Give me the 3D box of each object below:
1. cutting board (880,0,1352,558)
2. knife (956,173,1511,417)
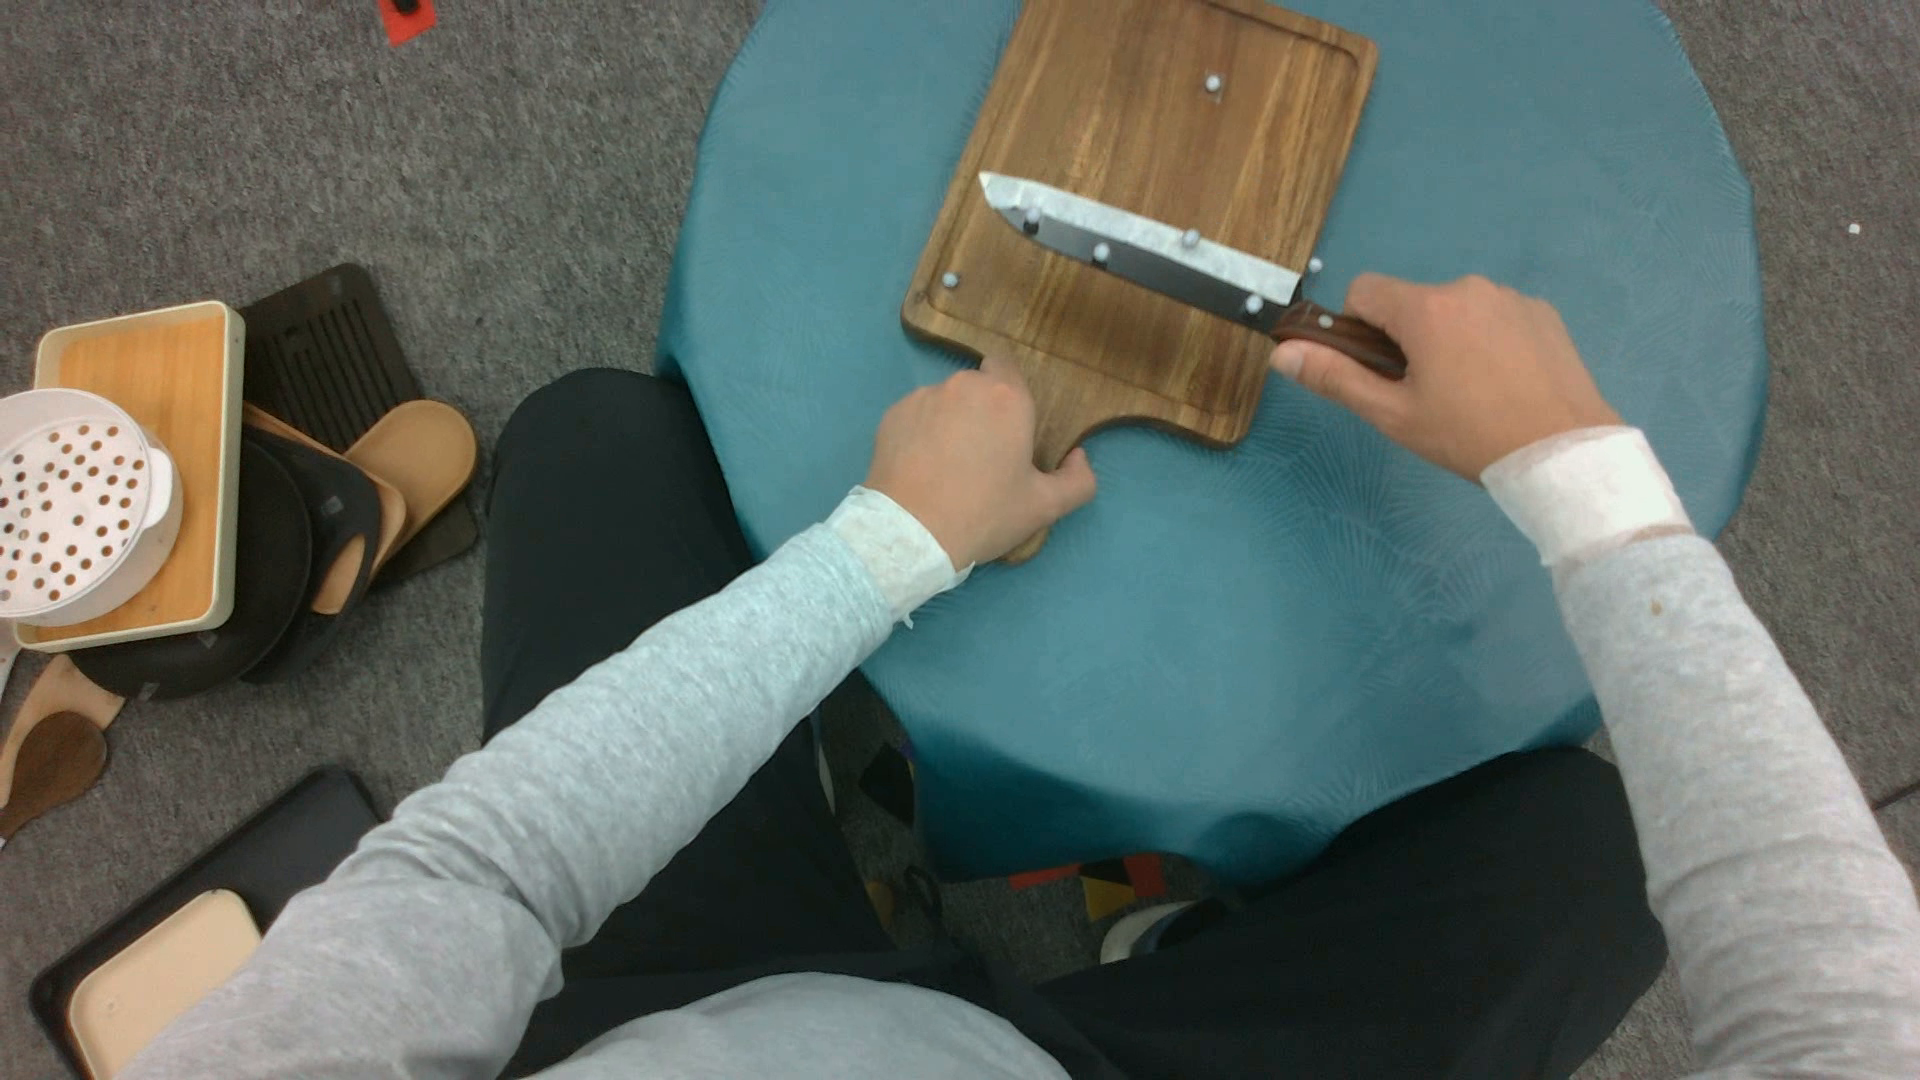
[{"bbox_3d":[0.072,-0.156,0.748,0.201,0.023,0.353,20,78,3],"label":"cutting board"},{"bbox_3d":[0.128,-0.123,0.669,0.289,0.020,0.050,24,55,7],"label":"knife"}]
